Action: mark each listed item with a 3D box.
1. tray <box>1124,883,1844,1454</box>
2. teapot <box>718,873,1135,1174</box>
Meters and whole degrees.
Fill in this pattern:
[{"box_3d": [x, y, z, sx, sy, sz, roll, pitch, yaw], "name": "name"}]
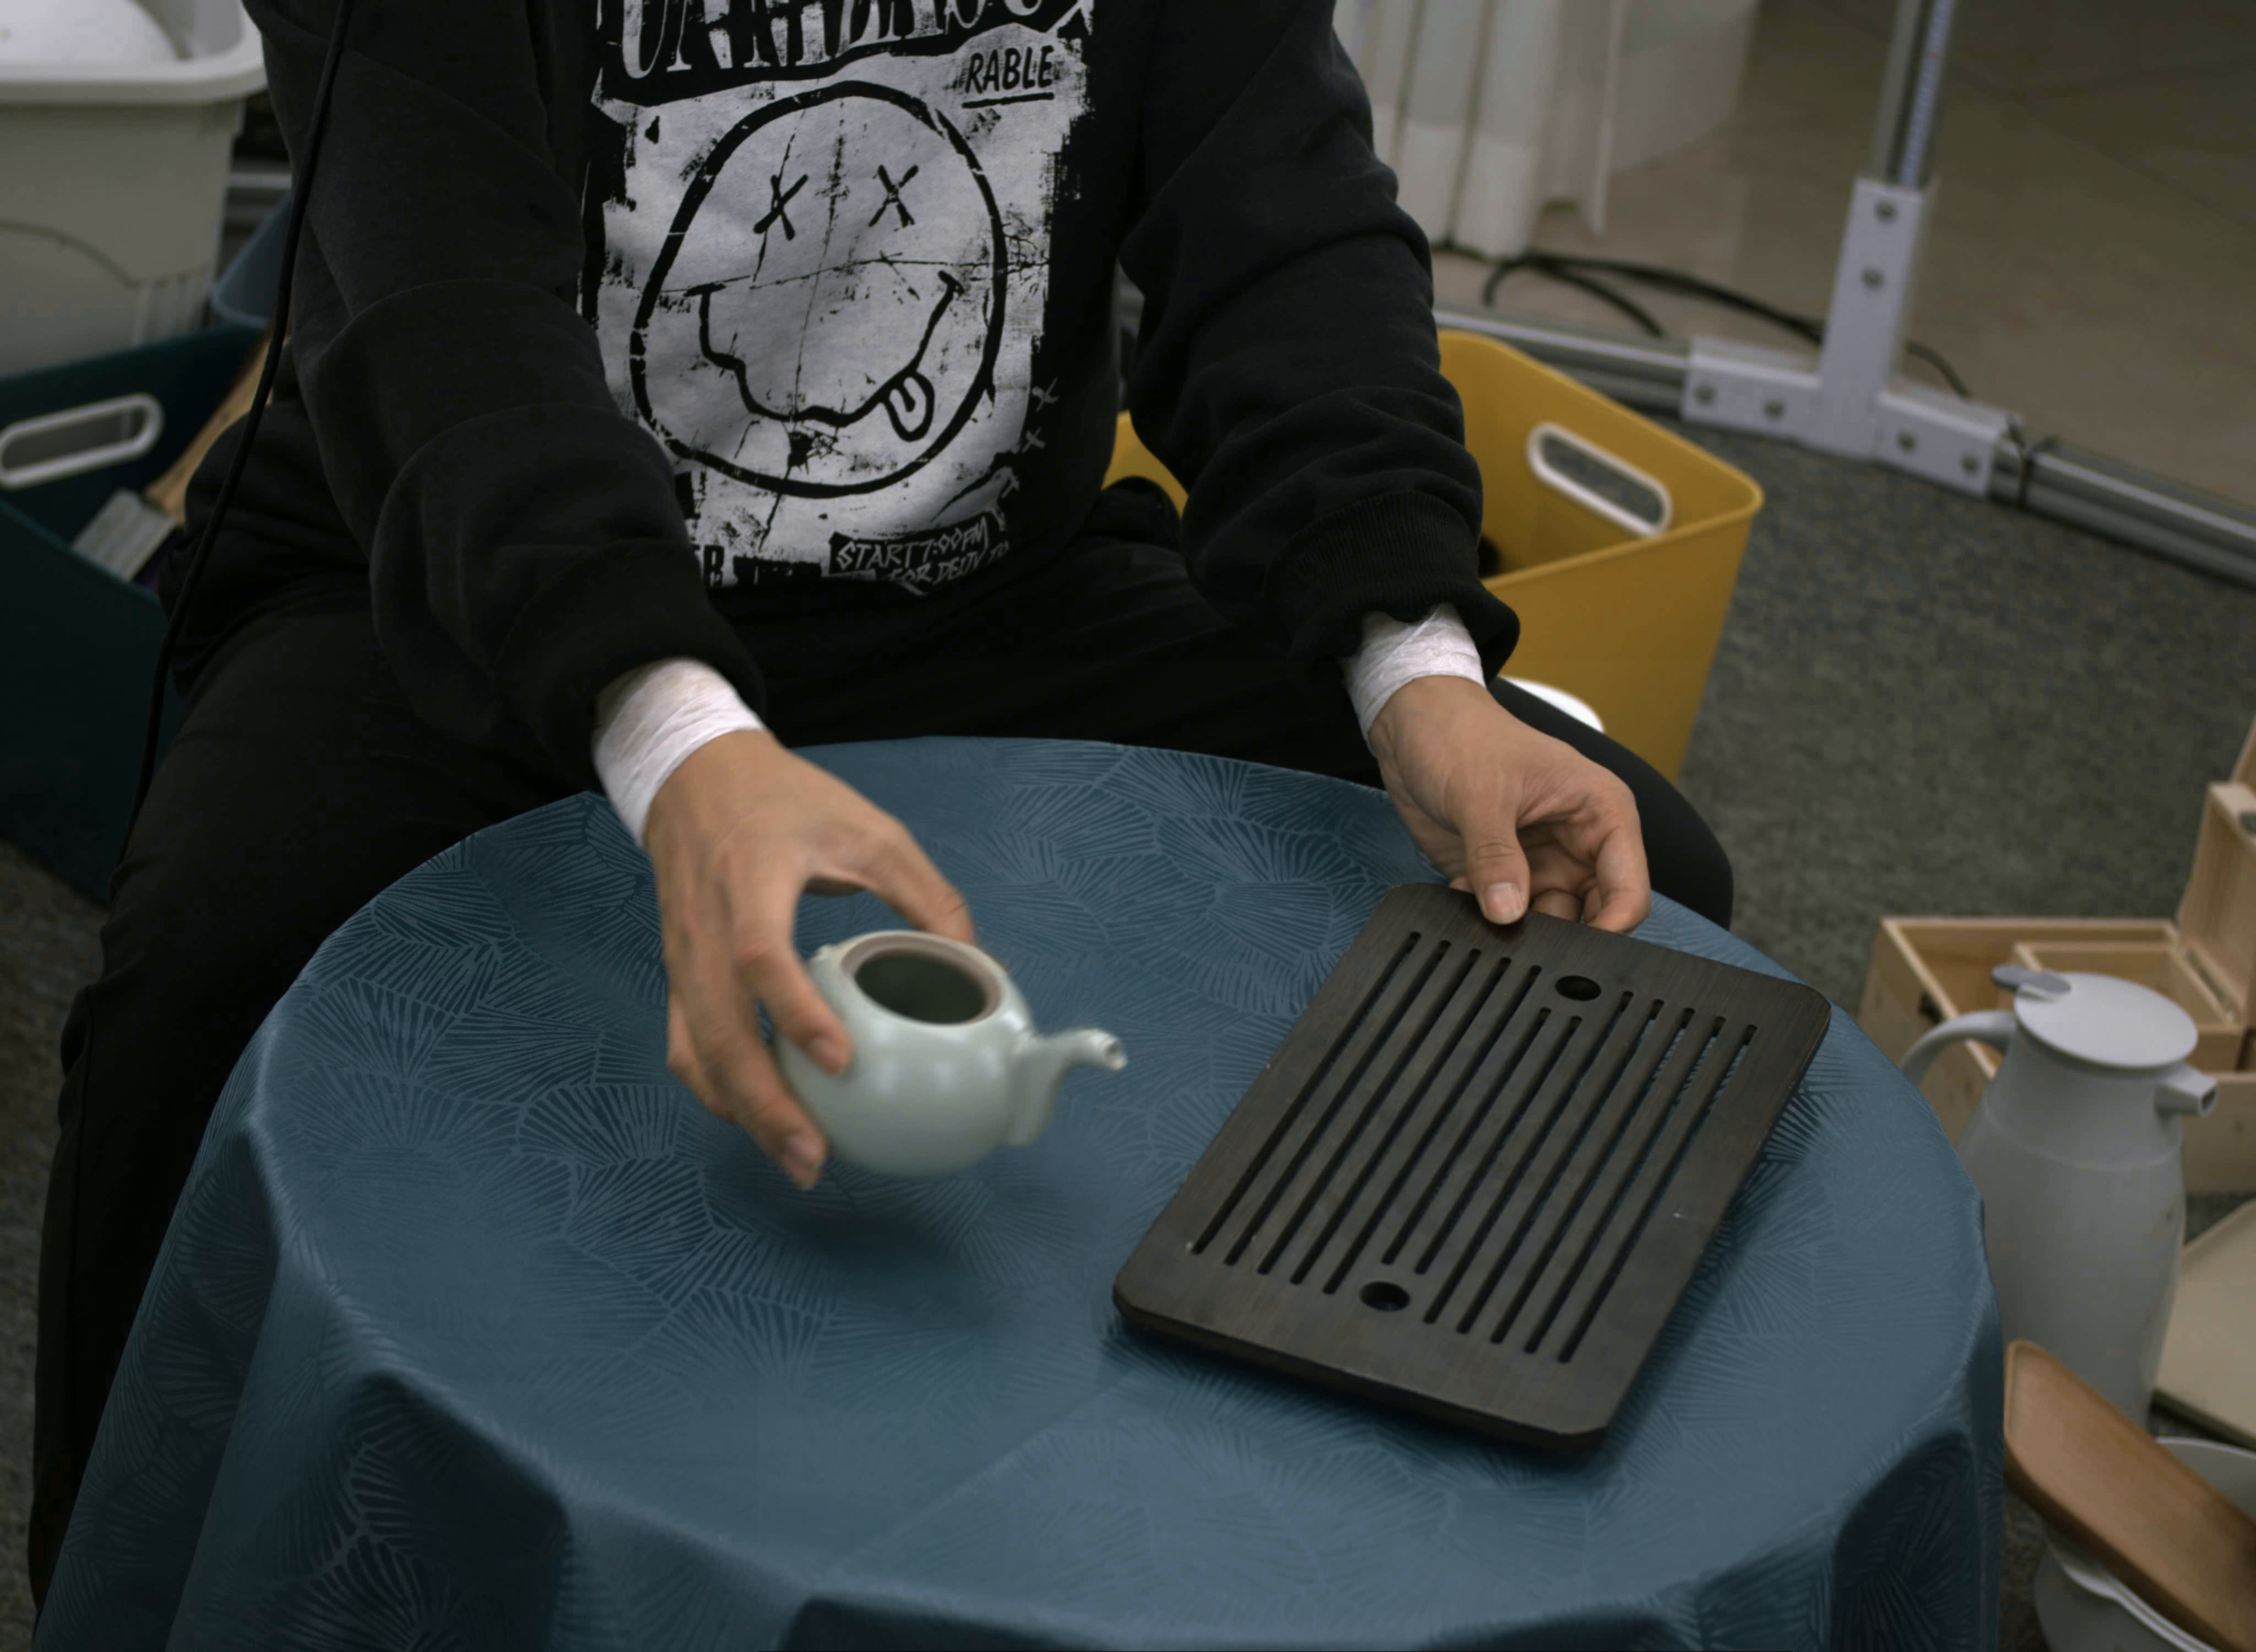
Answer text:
[{"box_3d": [0.127, 0.113, 1.818, 0.170, 0.018, 0.306, 15, 31, 16], "name": "tray"}, {"box_3d": [-0.071, 0.072, 1.748, 0.144, 0.074, 0.088, 25, 30, 11], "name": "teapot"}]
